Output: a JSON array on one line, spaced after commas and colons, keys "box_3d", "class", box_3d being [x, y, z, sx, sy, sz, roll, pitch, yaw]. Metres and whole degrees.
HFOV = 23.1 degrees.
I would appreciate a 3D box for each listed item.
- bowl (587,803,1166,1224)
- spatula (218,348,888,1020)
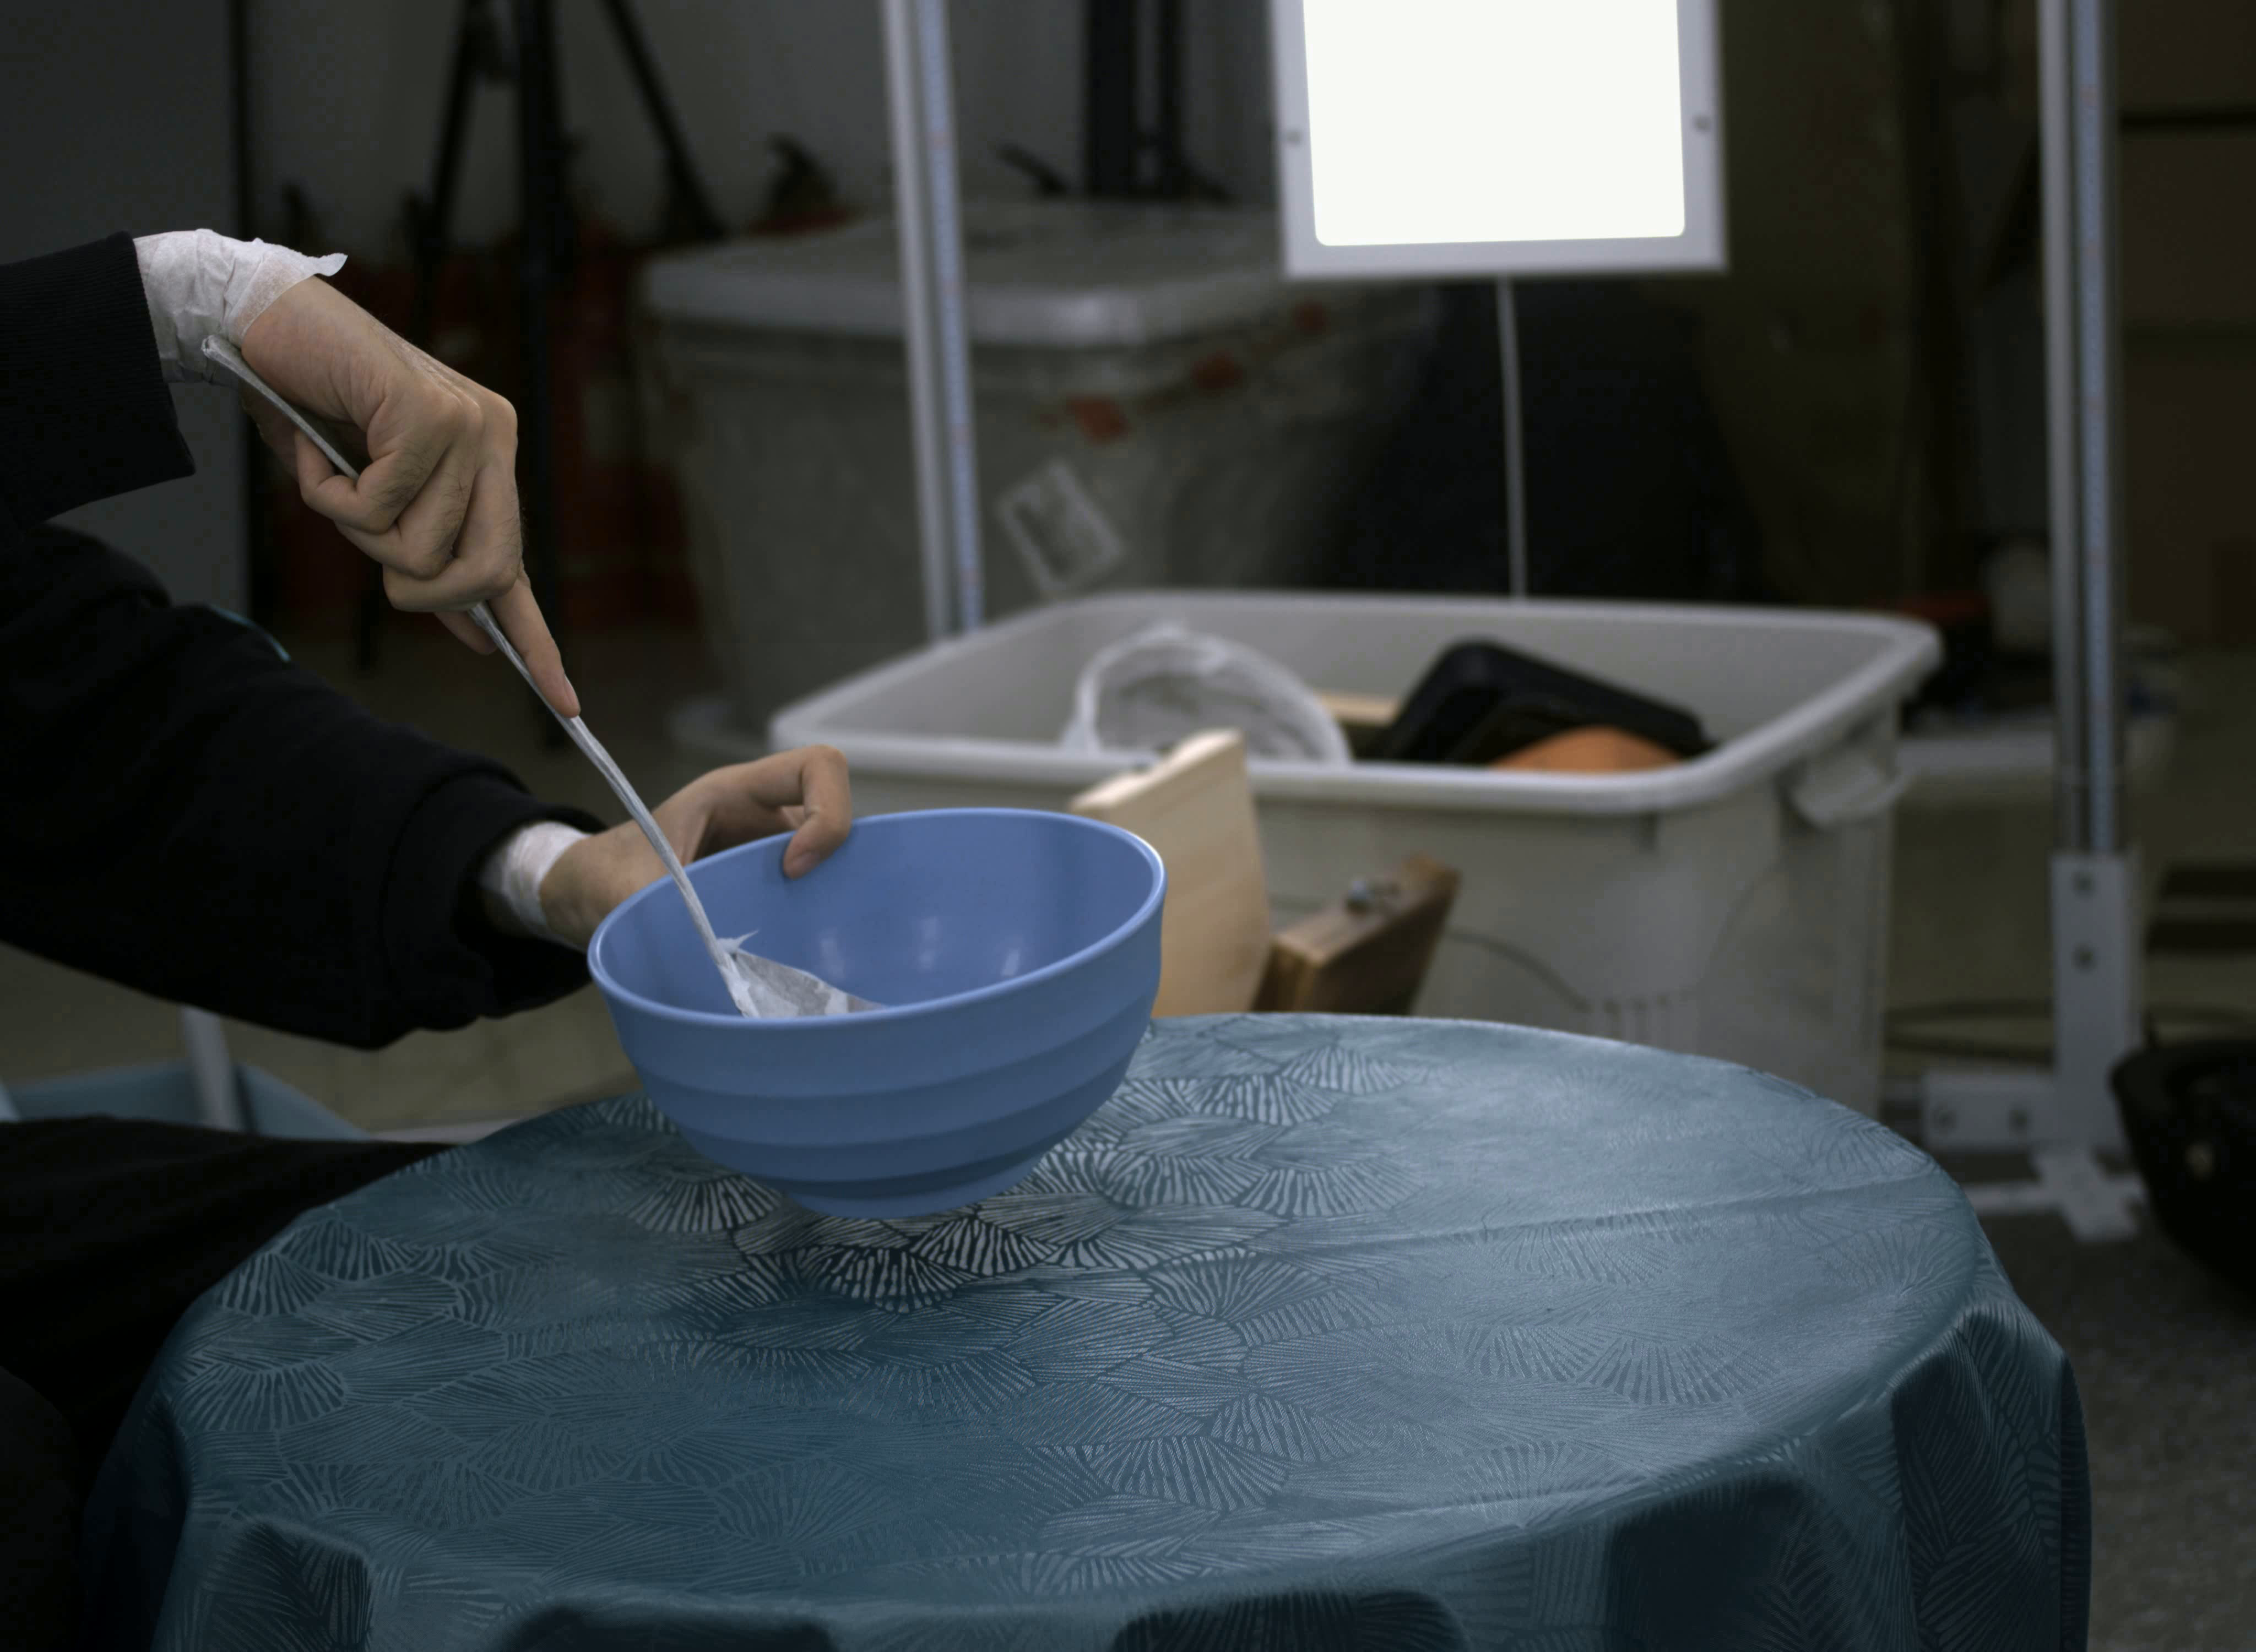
[{"box_3d": [-0.078, 0.072, 1.853, 0.196, 0.096, 0.196, -9, 20, 2], "class": "bowl"}, {"box_3d": [-0.170, -0.026, 1.820, 0.045, 0.362, 0.098, -34, 19, 9], "class": "spatula"}]
